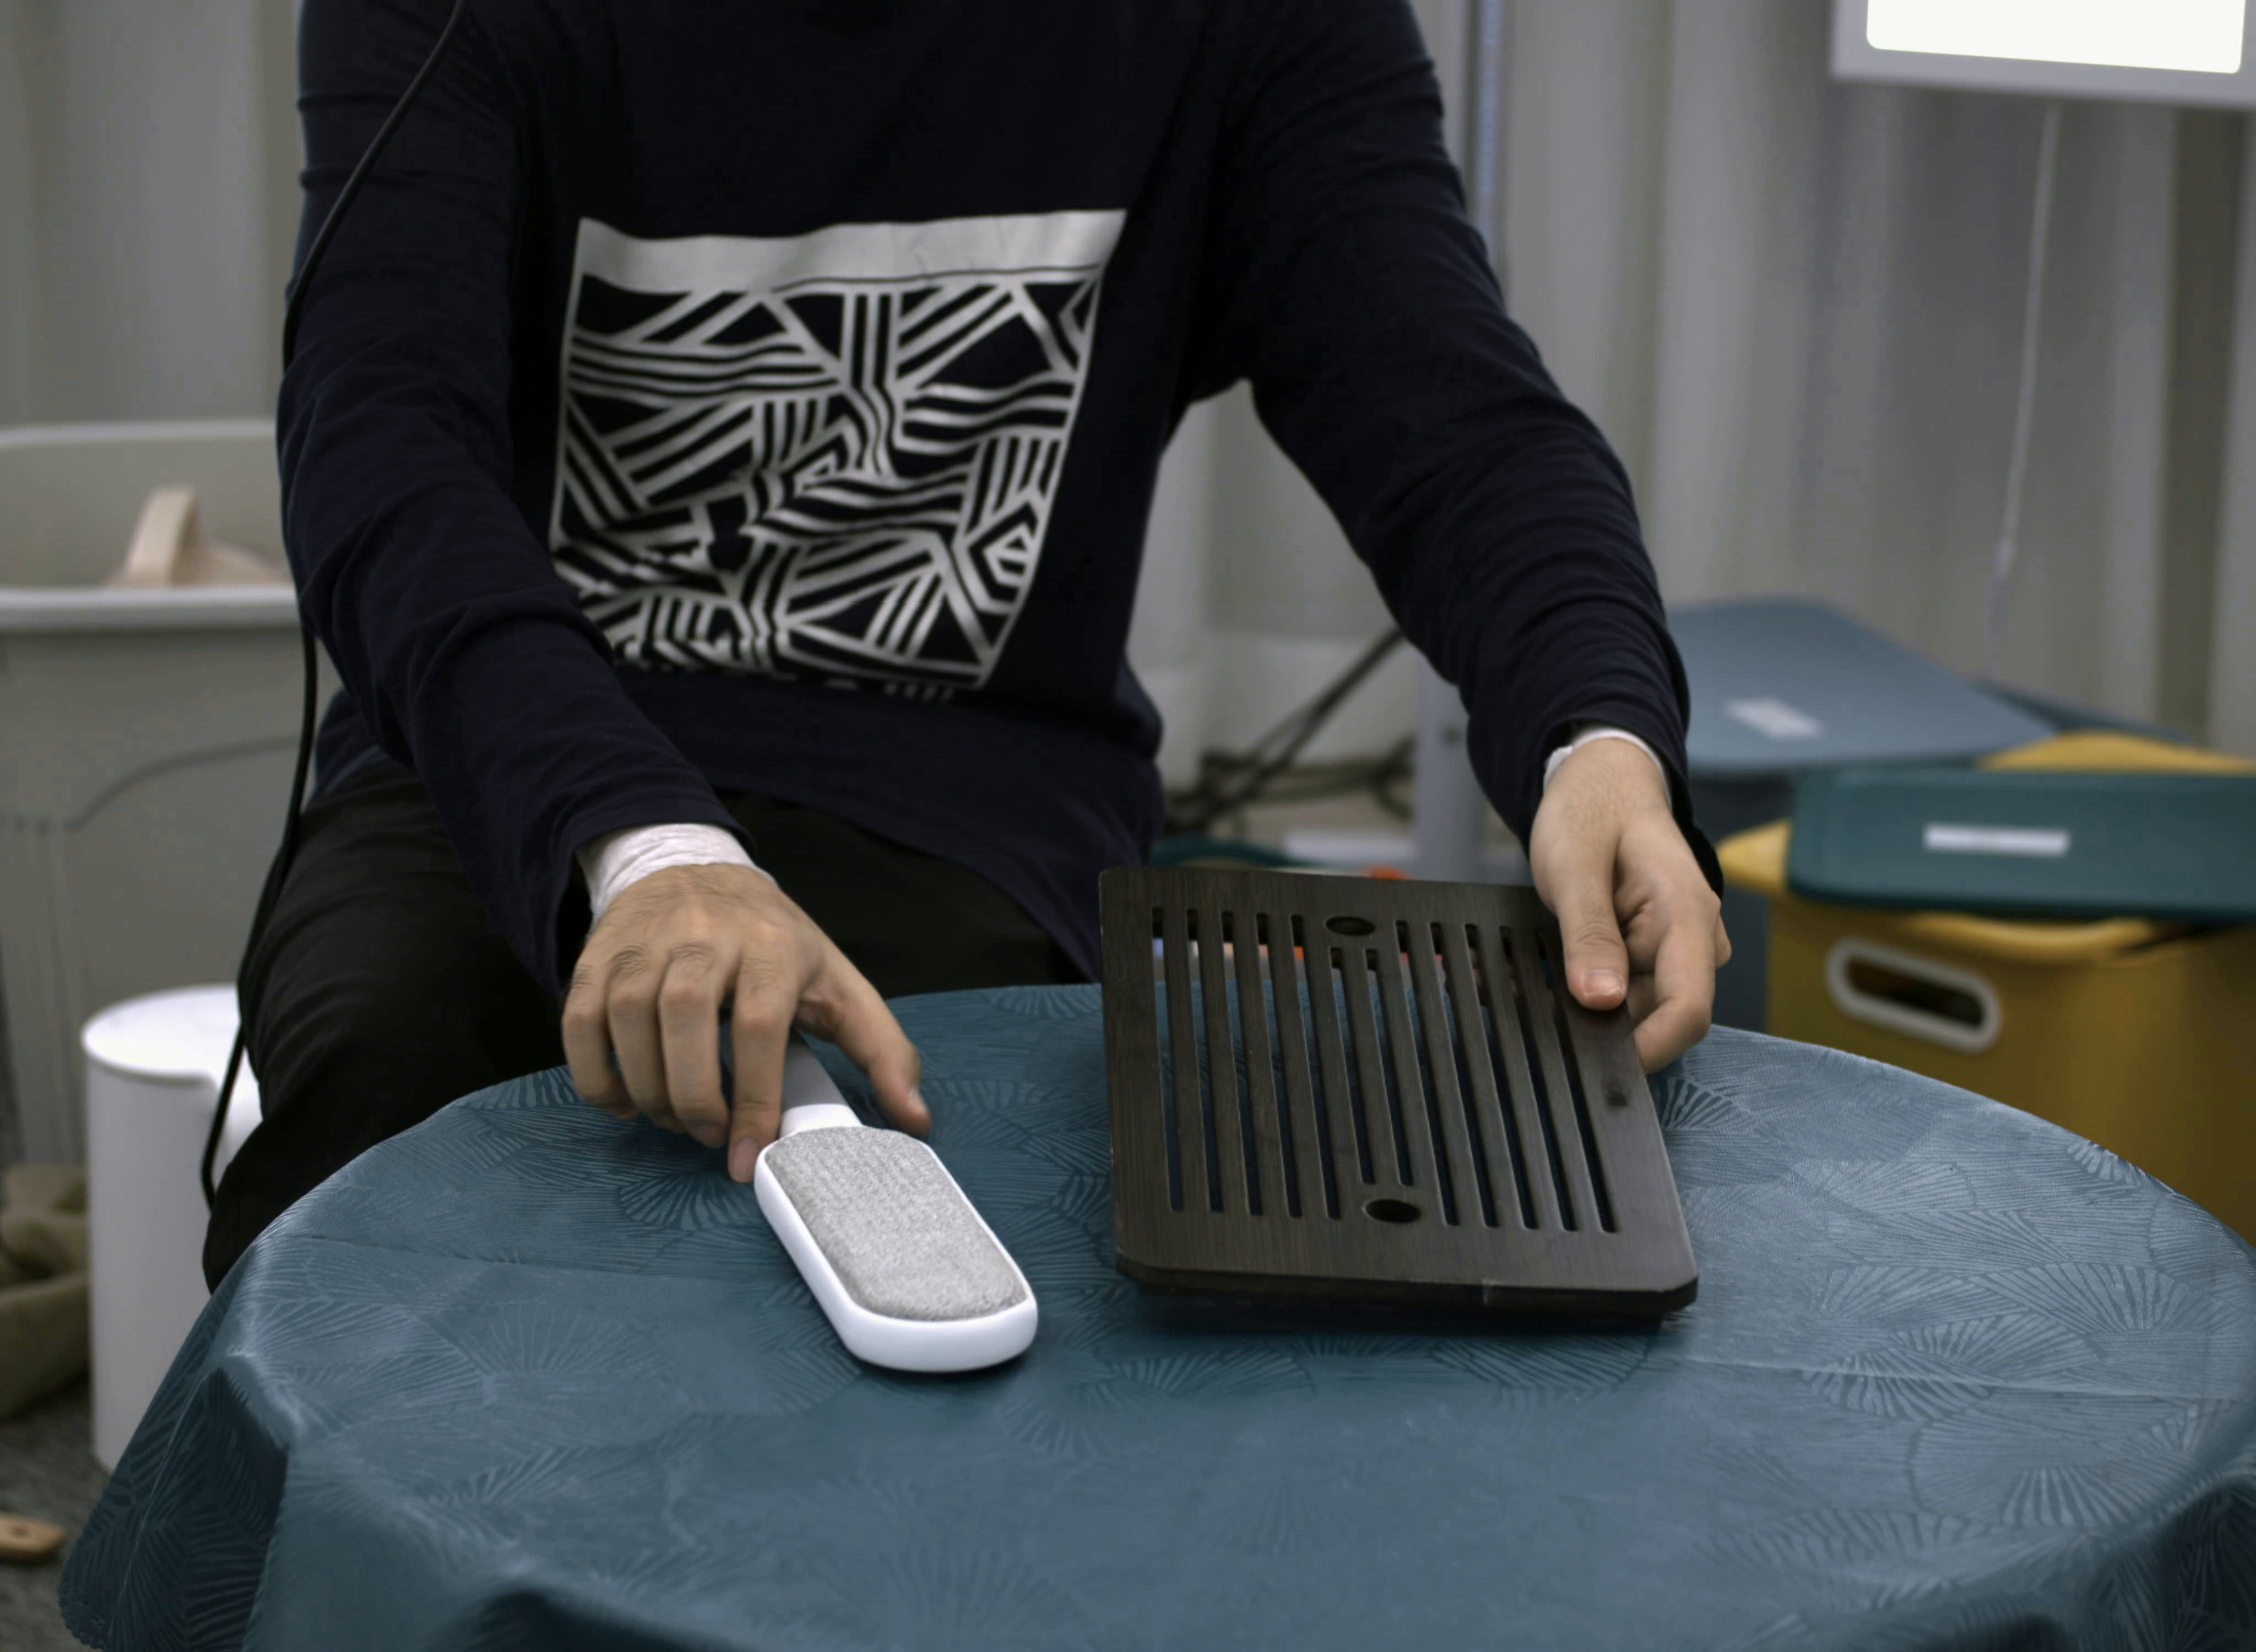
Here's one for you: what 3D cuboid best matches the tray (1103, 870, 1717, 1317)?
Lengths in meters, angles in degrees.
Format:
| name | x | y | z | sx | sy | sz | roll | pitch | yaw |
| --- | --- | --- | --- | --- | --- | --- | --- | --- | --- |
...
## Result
| name | x | y | z | sx | sy | sz | roll | pitch | yaw |
| --- | --- | --- | --- | --- | --- | --- | --- | --- | --- |
| tray | 0.080 | 0.081 | 1.641 | 0.170 | 0.019 | 0.303 | 2 | 22 | -3 |

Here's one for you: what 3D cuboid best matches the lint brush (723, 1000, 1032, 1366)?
| name | x | y | z | sx | sy | sz | roll | pitch | yaw |
| --- | --- | --- | --- | --- | --- | --- | --- | --- | --- |
| lint brush | -0.085 | 0.104 | 1.602 | 0.060 | 0.021 | 0.306 | -9 | 17 | -13 |
